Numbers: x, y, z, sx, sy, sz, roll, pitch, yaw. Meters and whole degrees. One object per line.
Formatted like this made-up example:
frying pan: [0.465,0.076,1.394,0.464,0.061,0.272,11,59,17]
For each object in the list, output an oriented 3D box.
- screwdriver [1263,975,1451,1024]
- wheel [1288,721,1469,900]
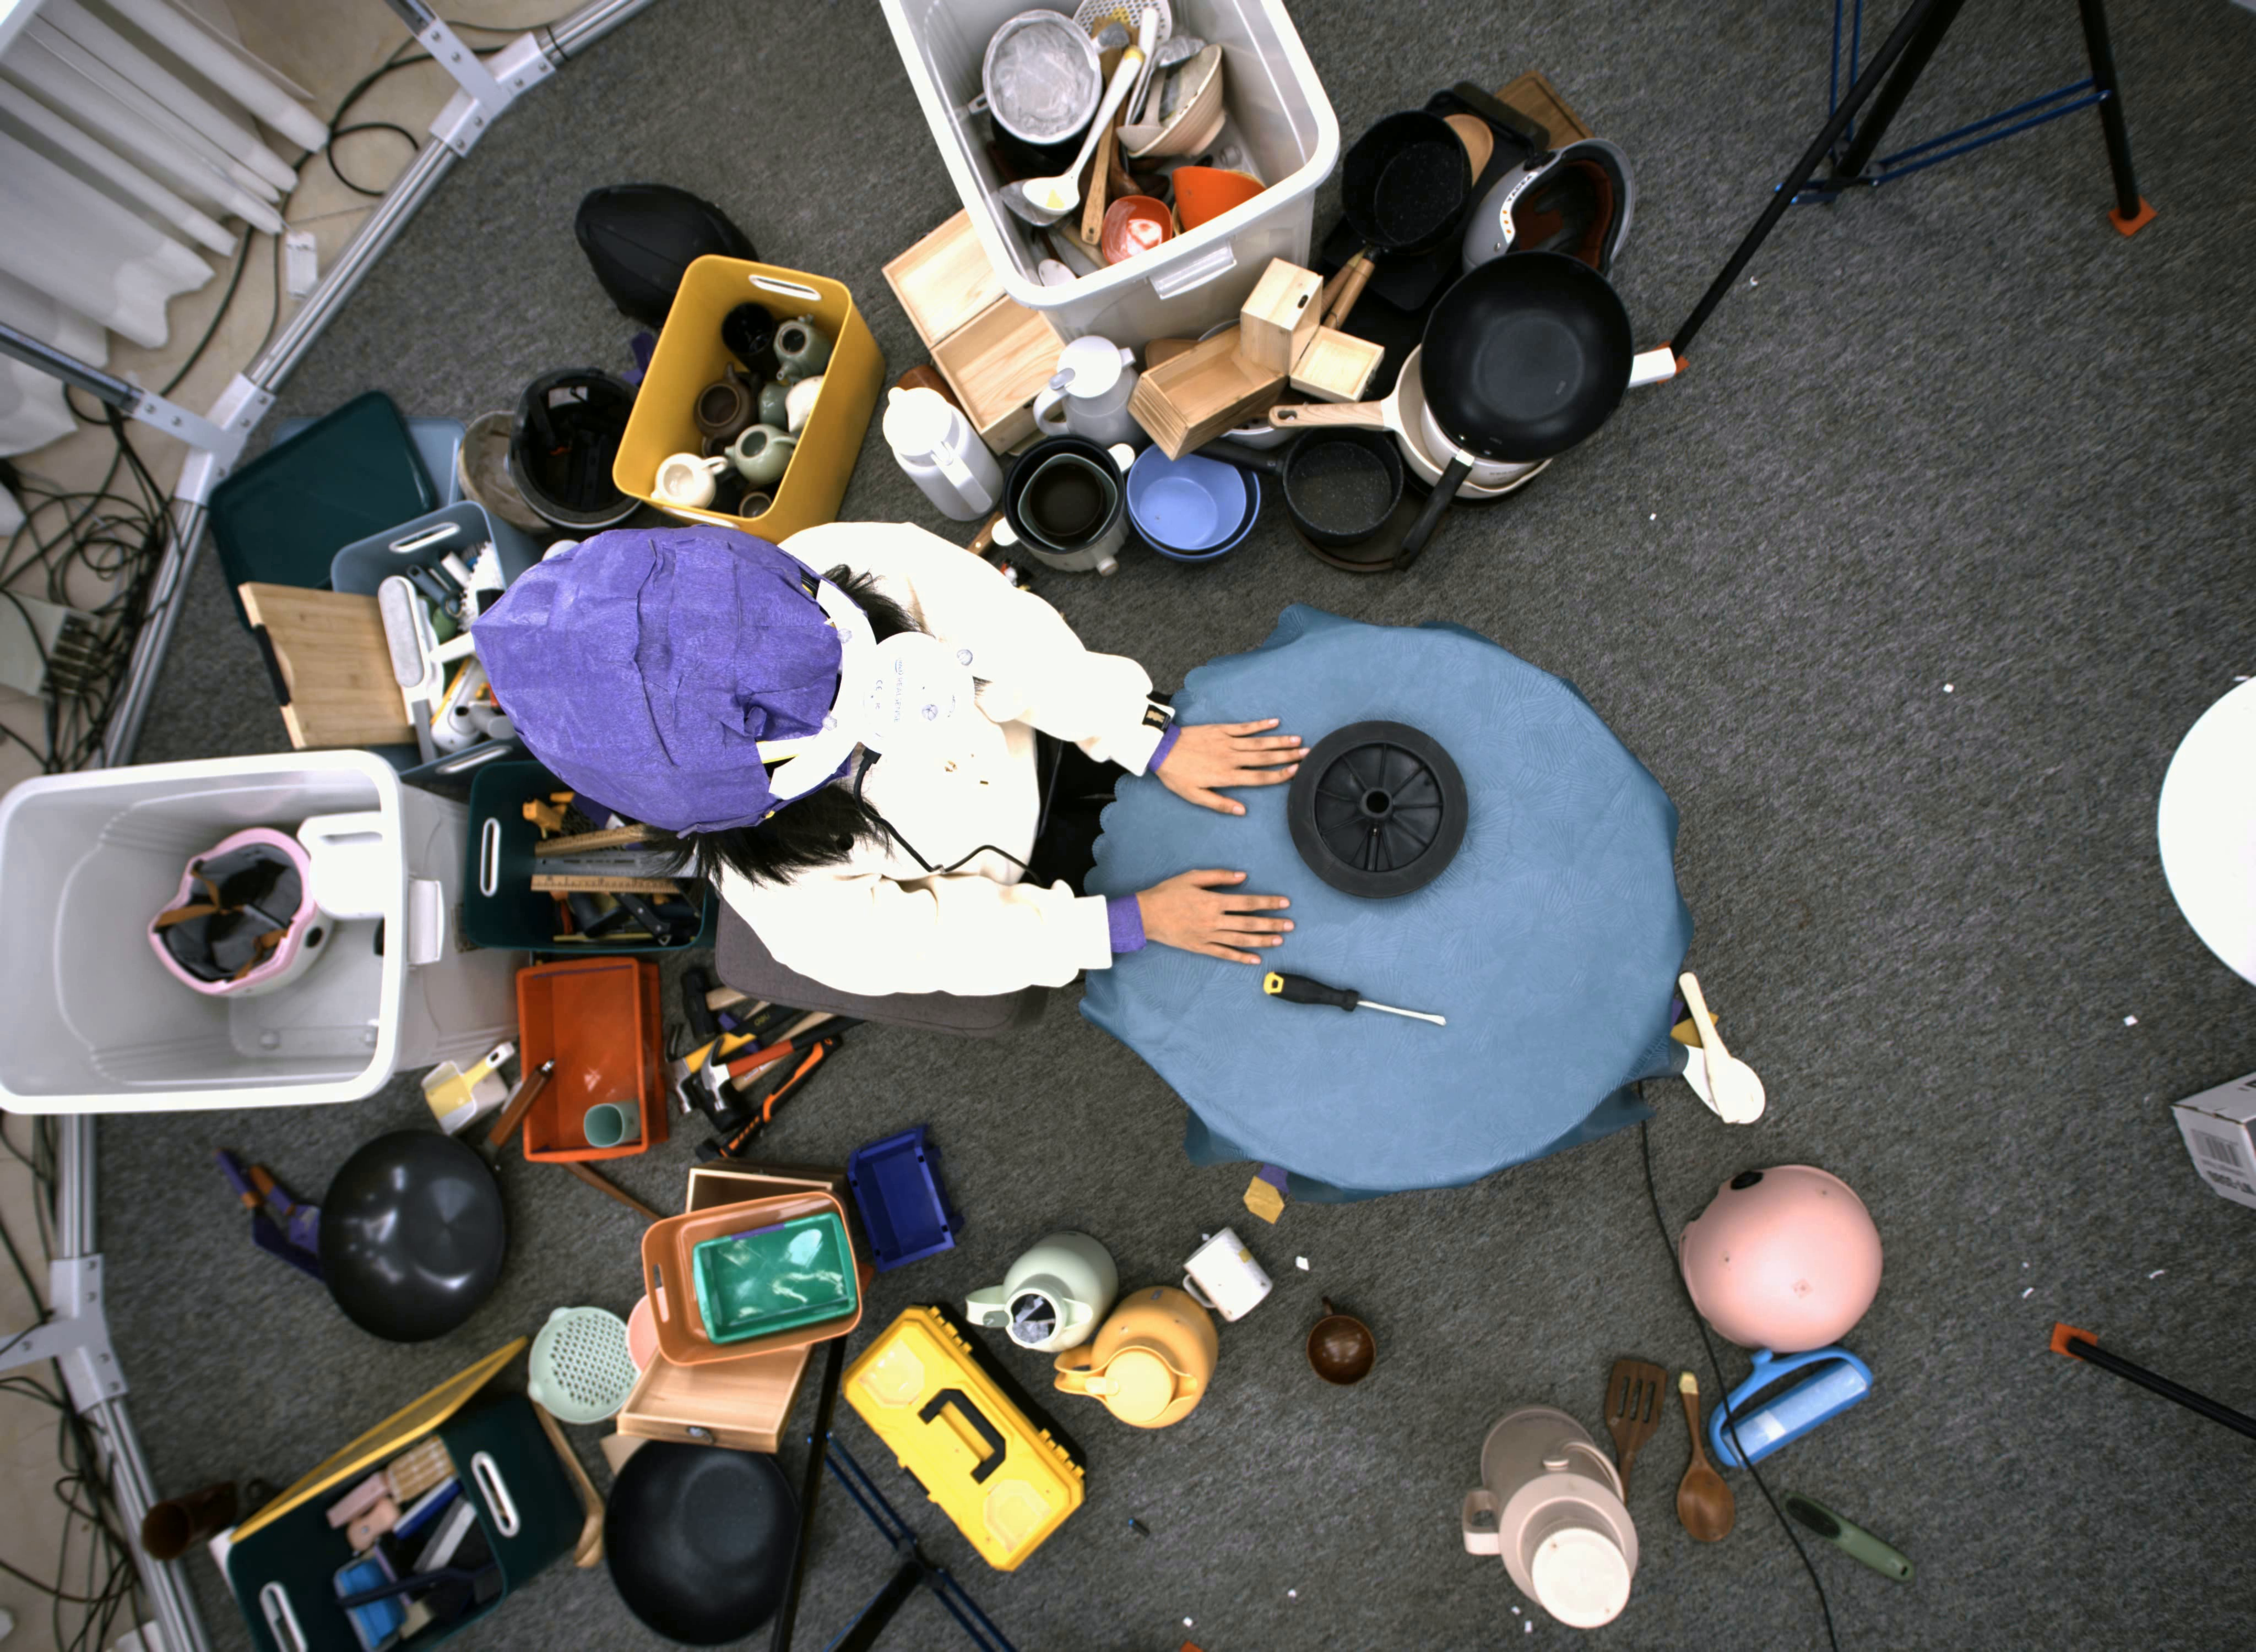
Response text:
screwdriver: [0.238,0.187,1.447,0.198,0.031,0.031,13,87,8]
wheel: [0.259,-0.019,1.430,0.188,0.079,0.189,-17,86,9]
